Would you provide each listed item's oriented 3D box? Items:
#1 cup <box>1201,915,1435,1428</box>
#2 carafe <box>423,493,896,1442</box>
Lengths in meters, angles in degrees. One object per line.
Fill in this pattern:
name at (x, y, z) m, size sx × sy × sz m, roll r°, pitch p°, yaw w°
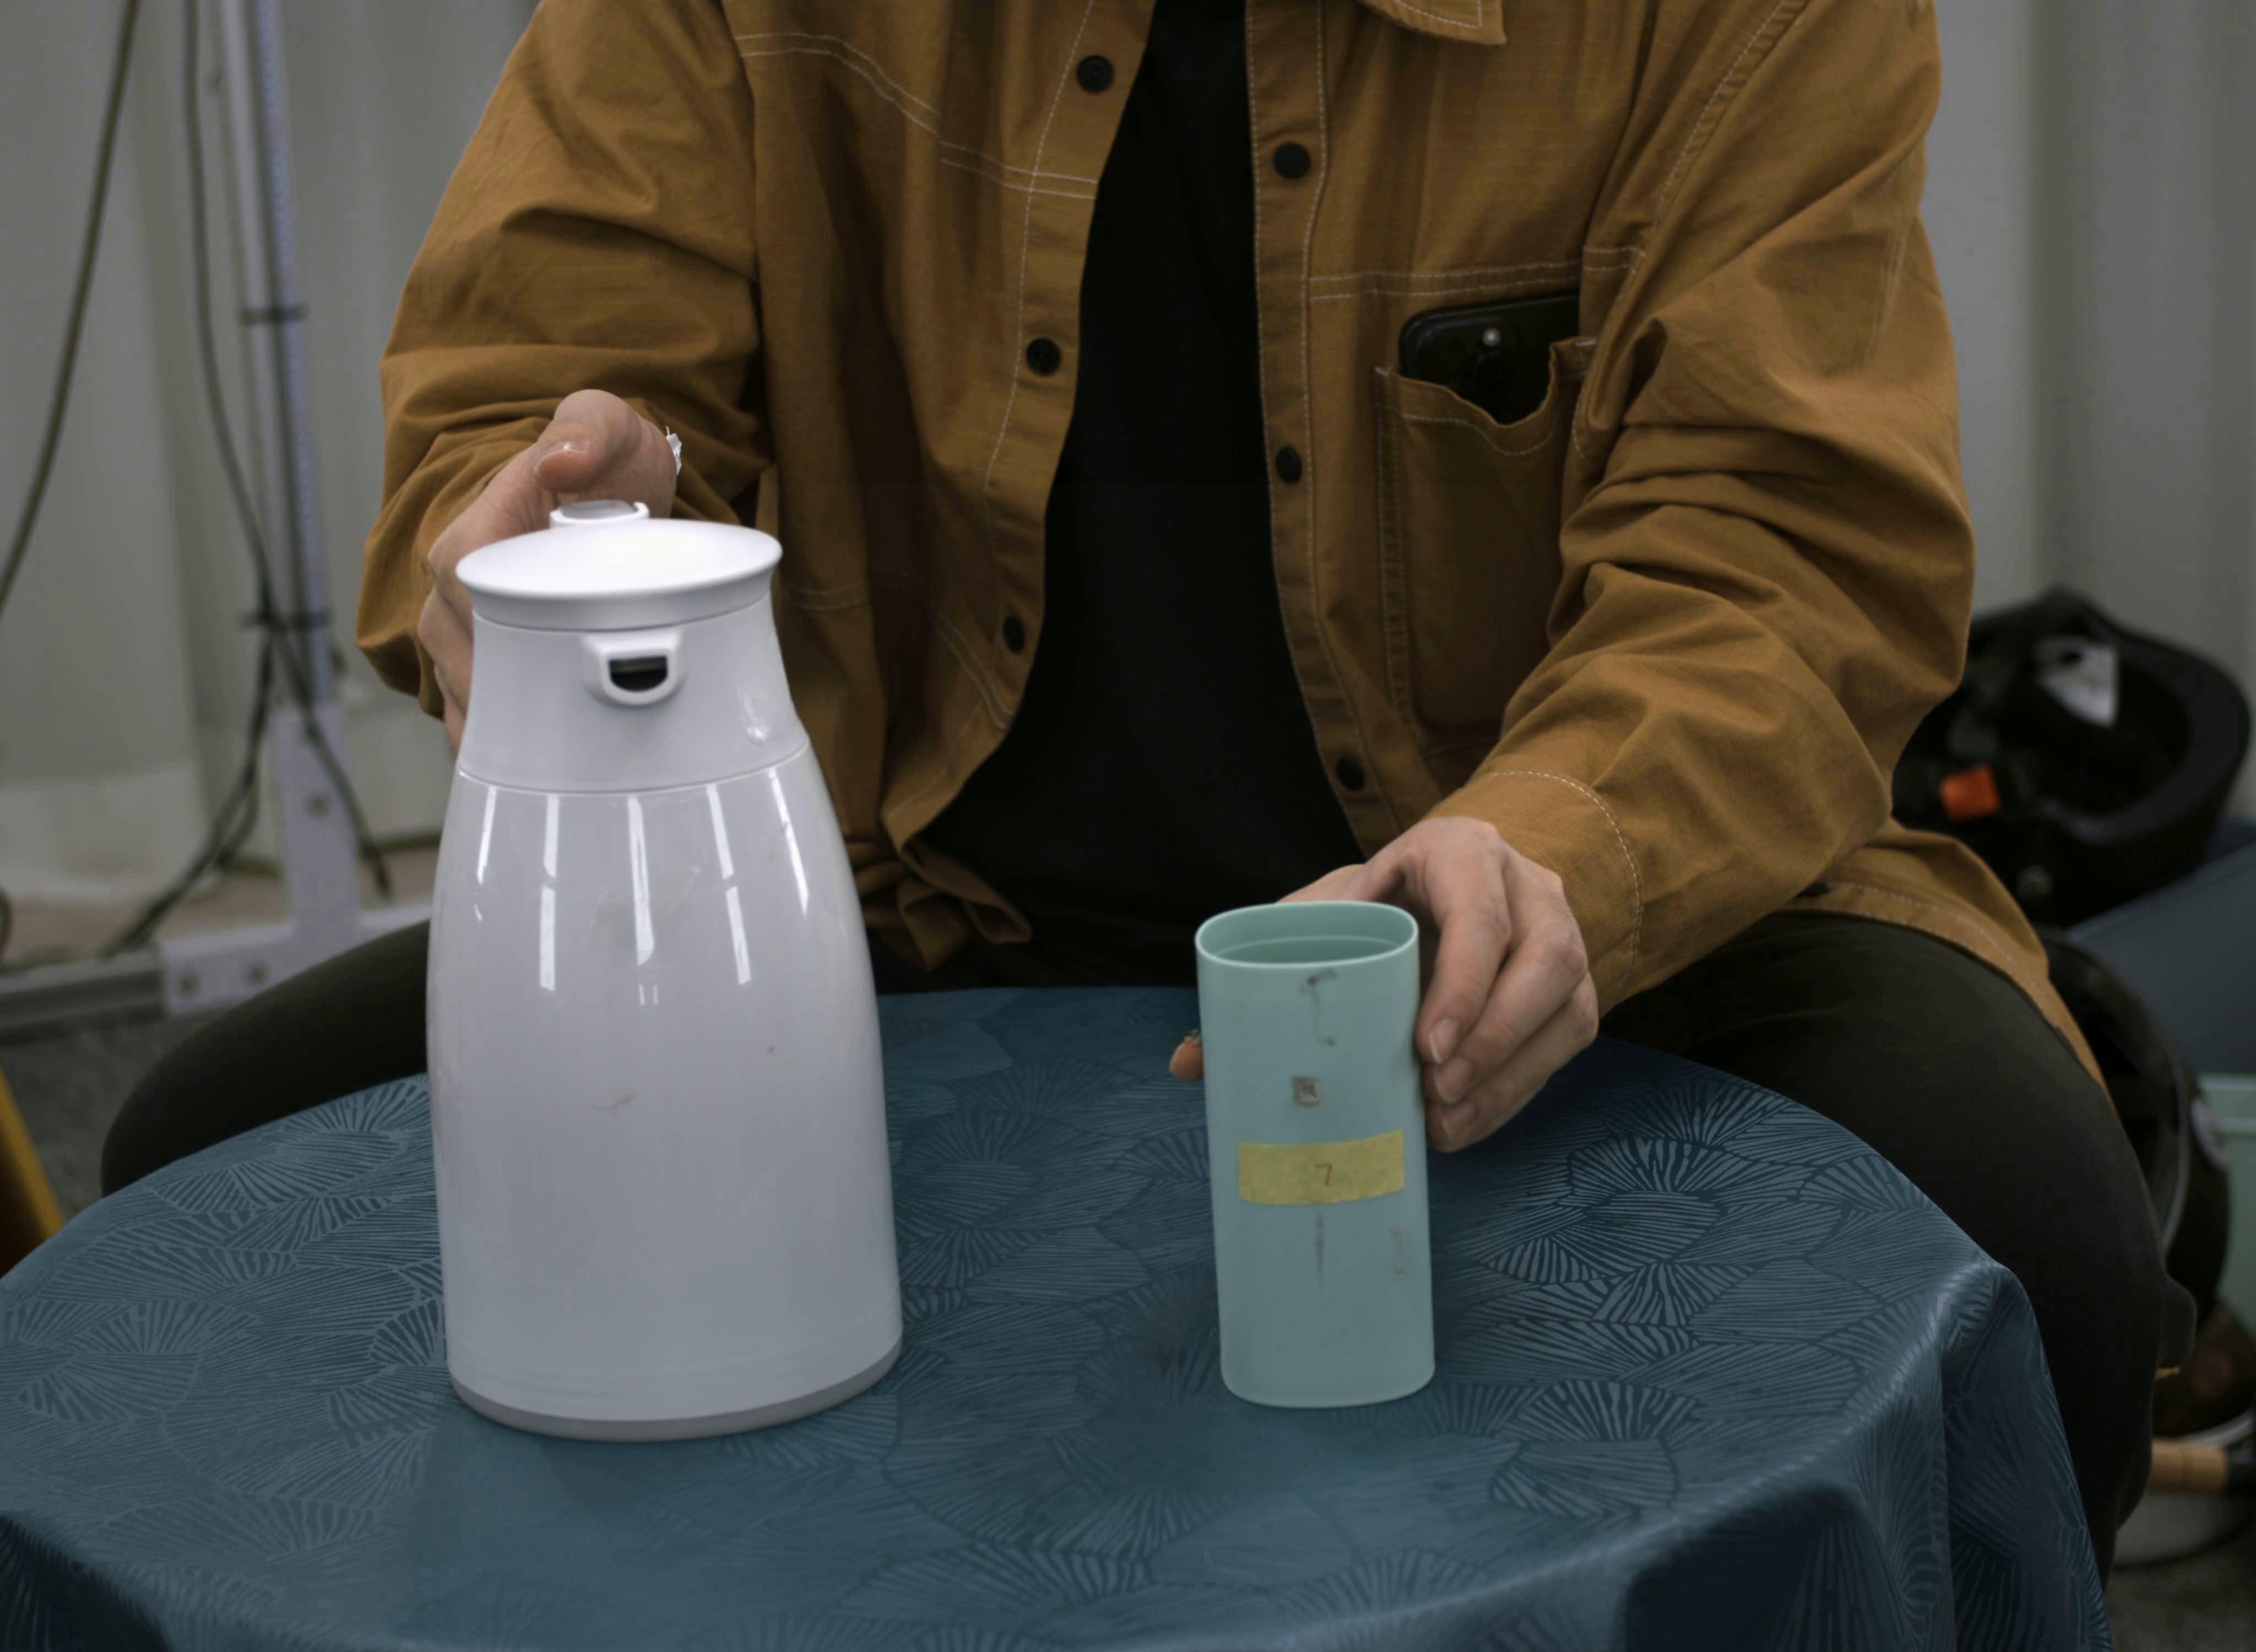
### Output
cup at (0.054, 0.096, 1.535) m, size 0.066 × 0.132 × 0.067 m, roll -3°, pitch 14°, yaw 0°
carafe at (-0.142, 0.032, 1.576) m, size 0.132 × 0.248 × 0.169 m, roll -5°, pitch 13°, yaw -9°
